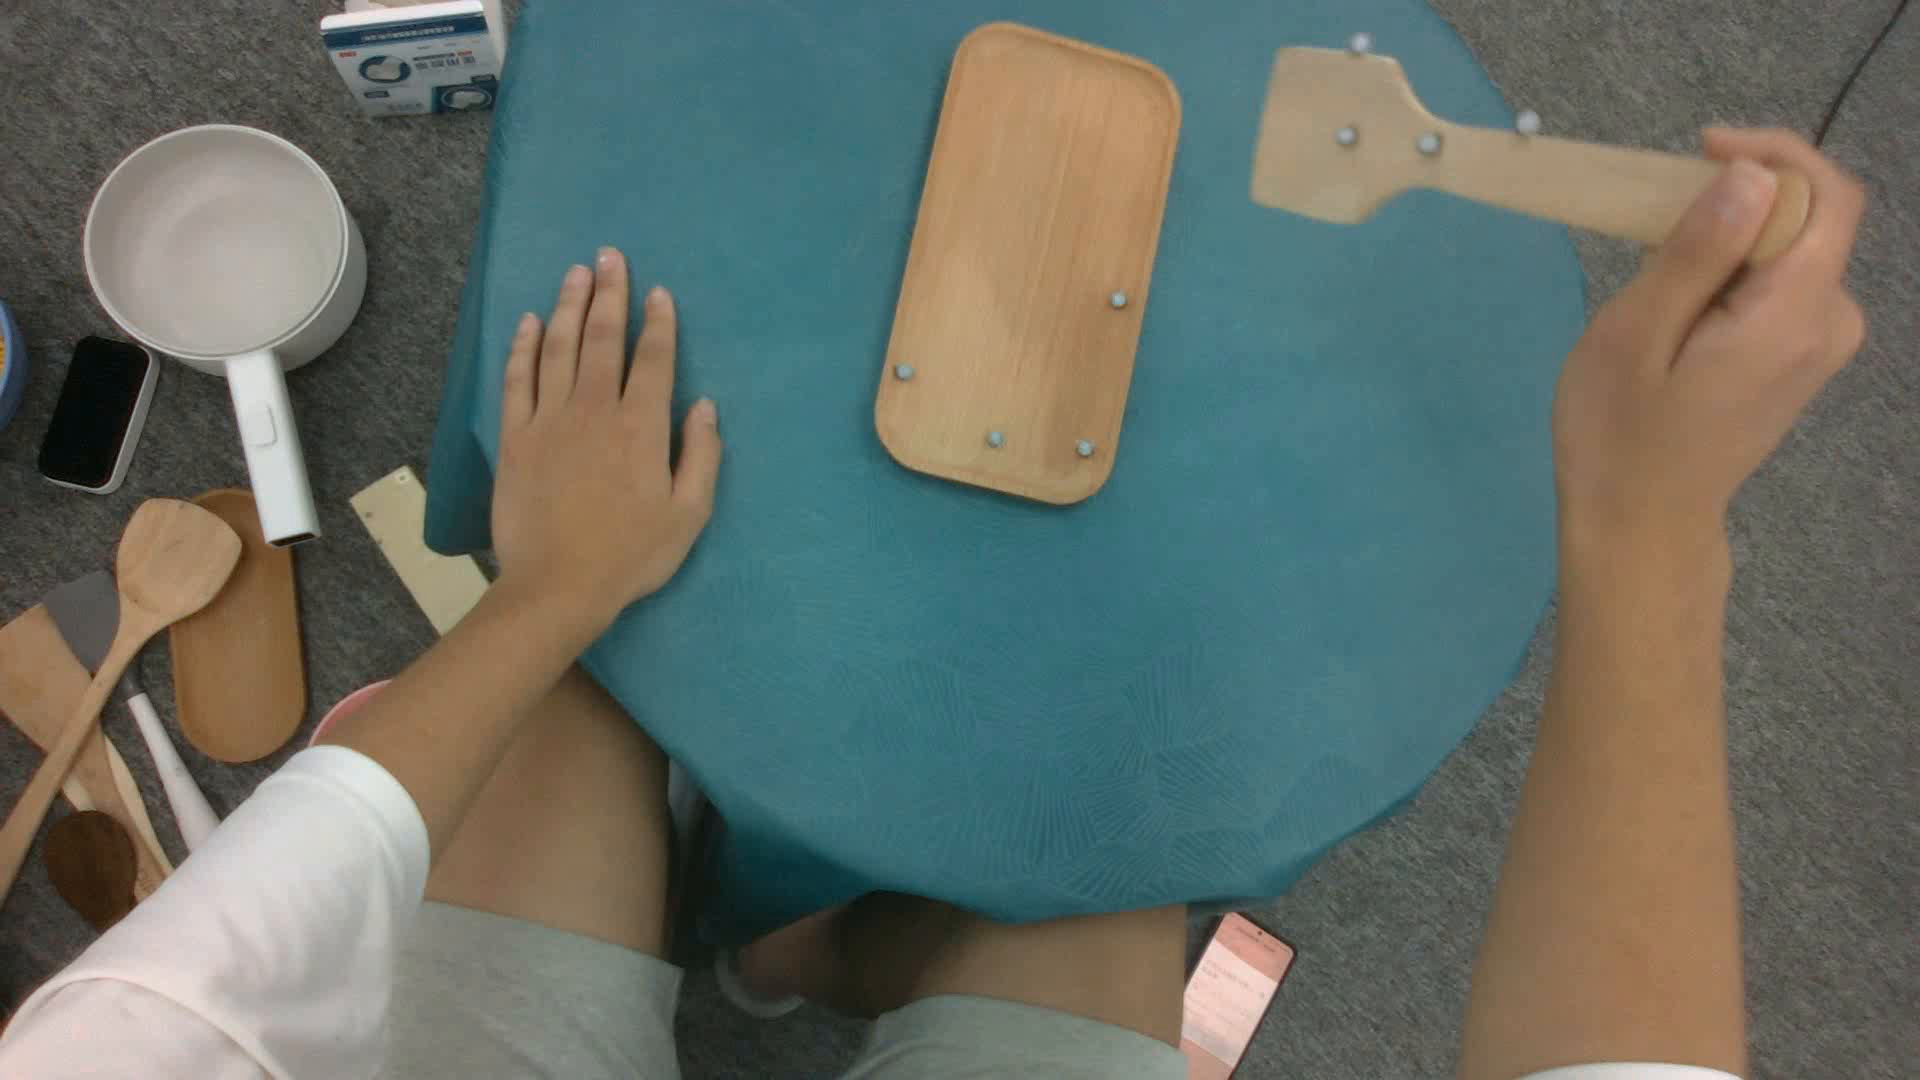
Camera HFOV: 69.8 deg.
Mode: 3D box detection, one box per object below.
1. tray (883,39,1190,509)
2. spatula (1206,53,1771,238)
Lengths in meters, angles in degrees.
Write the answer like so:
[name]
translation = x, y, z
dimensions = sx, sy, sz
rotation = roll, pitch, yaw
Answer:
[tray]
translation = 0.043, -0.145, 0.741
dimensions = 0.130, 0.023, 0.251
rotation = 15, 79, -8
[spatula]
translation = 0.170, -0.143, 0.508
dimensions = 0.011, 0.293, 0.072
rotation = -8, 111, -19
